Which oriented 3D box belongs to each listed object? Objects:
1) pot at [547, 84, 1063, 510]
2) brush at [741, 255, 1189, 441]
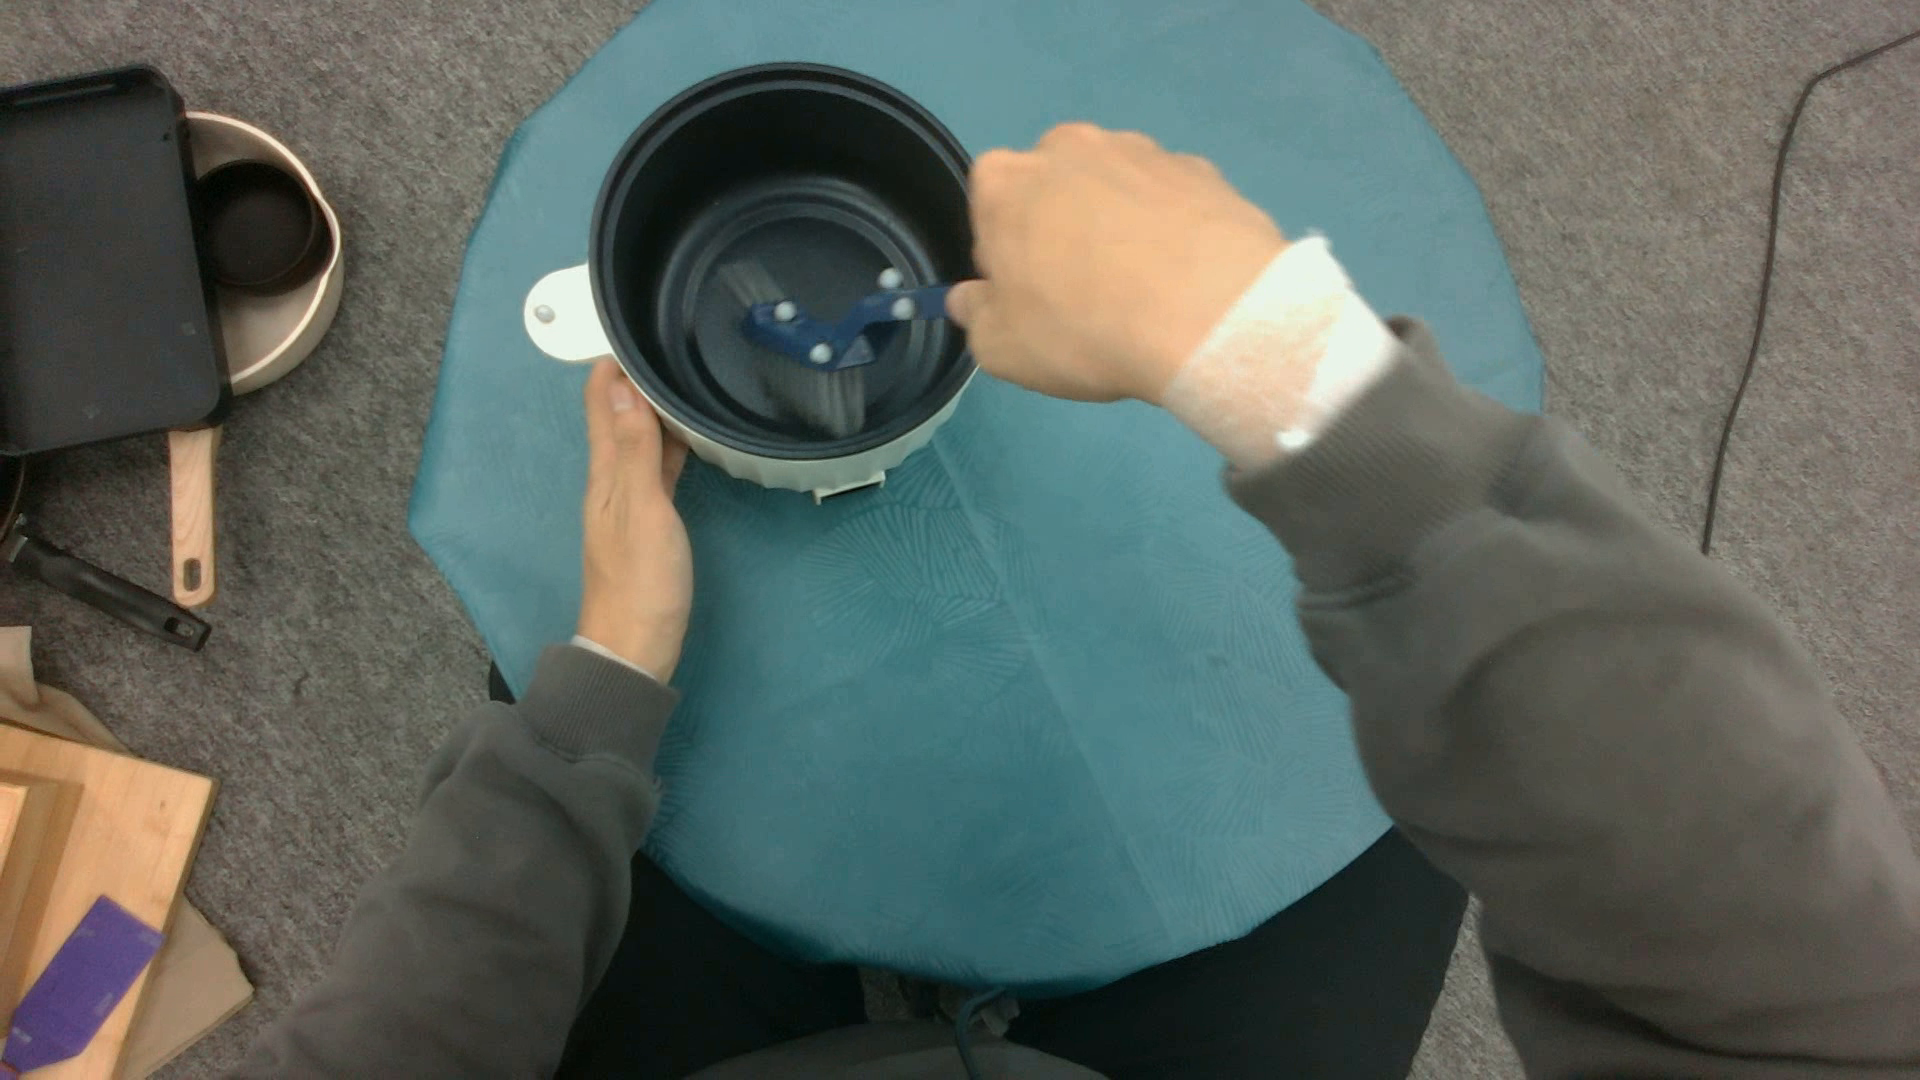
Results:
[{"bbox_3d":[-0.076,-0.116,0.683,0.241,0.142,0.190,-16,87,-9],"label":"pot"},{"bbox_3d":[-0.017,-0.094,0.555,0.033,0.272,0.095,-14,95,-34],"label":"brush"}]
